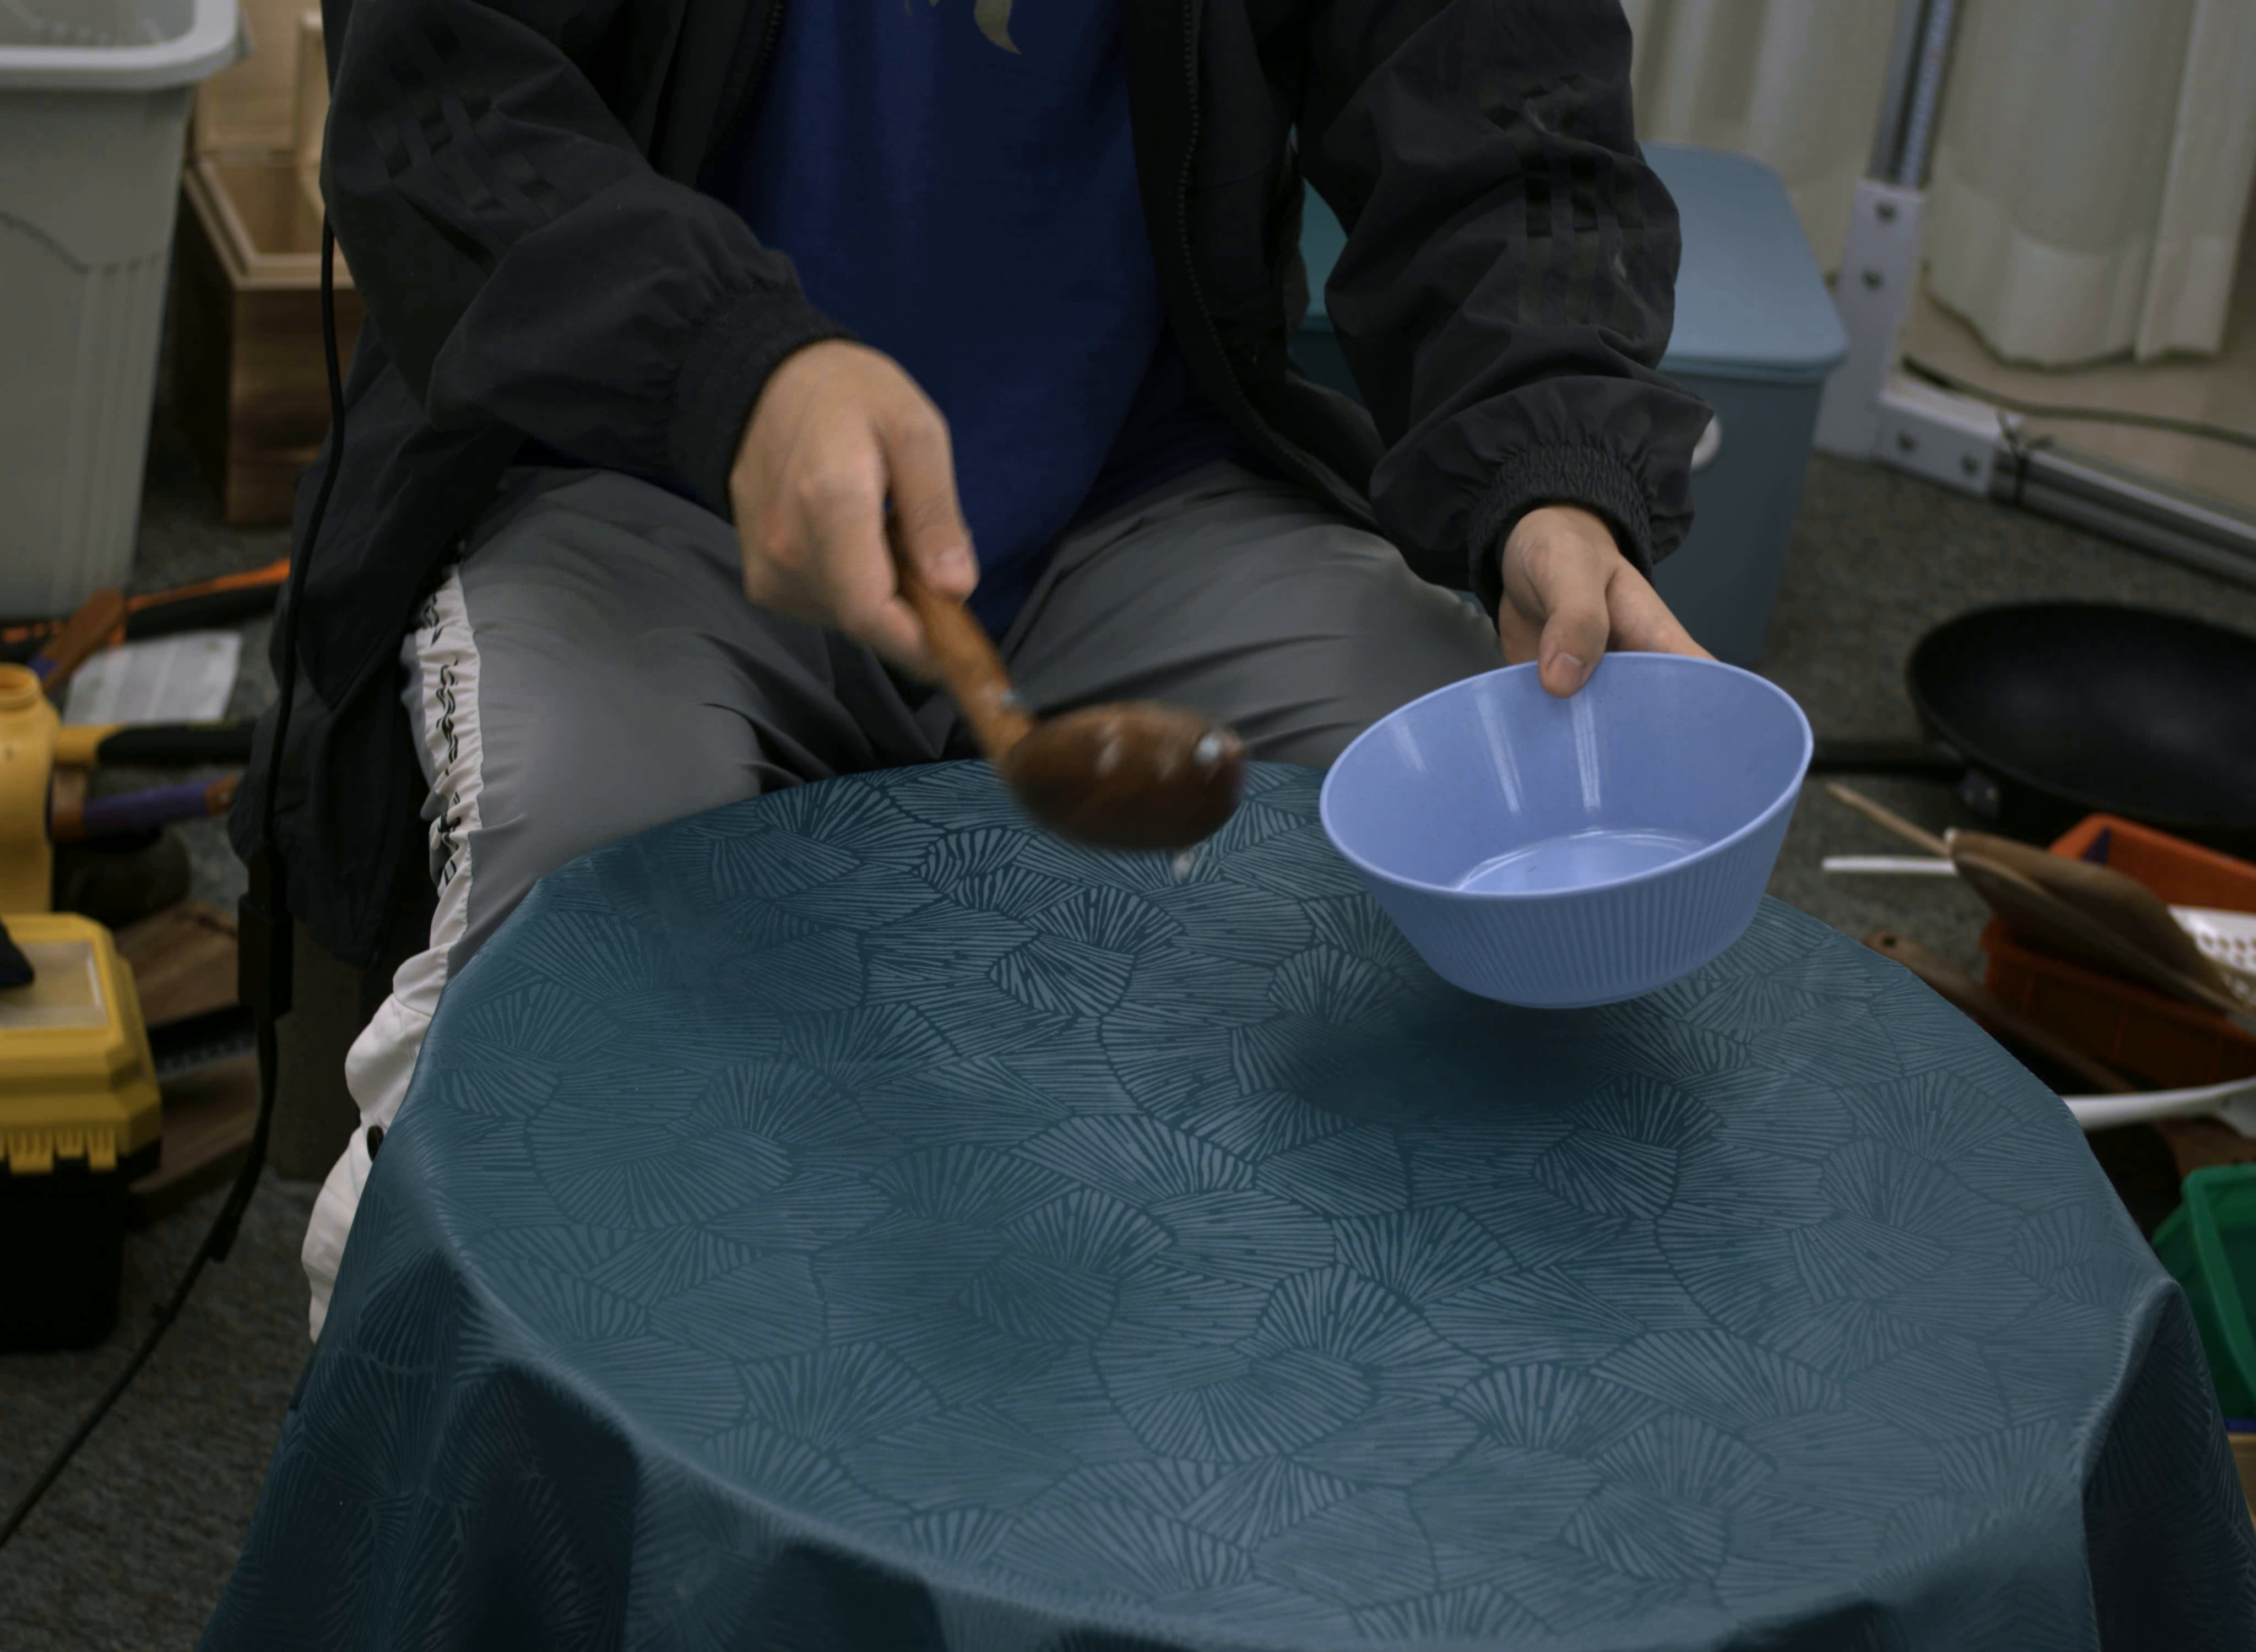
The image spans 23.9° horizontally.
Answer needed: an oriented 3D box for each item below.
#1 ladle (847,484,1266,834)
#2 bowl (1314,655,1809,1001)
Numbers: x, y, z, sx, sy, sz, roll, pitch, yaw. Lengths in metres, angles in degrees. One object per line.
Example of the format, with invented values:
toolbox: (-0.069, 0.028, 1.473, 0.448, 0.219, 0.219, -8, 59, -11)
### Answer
ladle: (-0.033, -0.077, 1.839, 0.081, 0.076, 0.276, 26, 18, -33)
bowl: (0.157, 0.006, 1.889, 0.176, 0.070, 0.177, -9, 26, 4)
